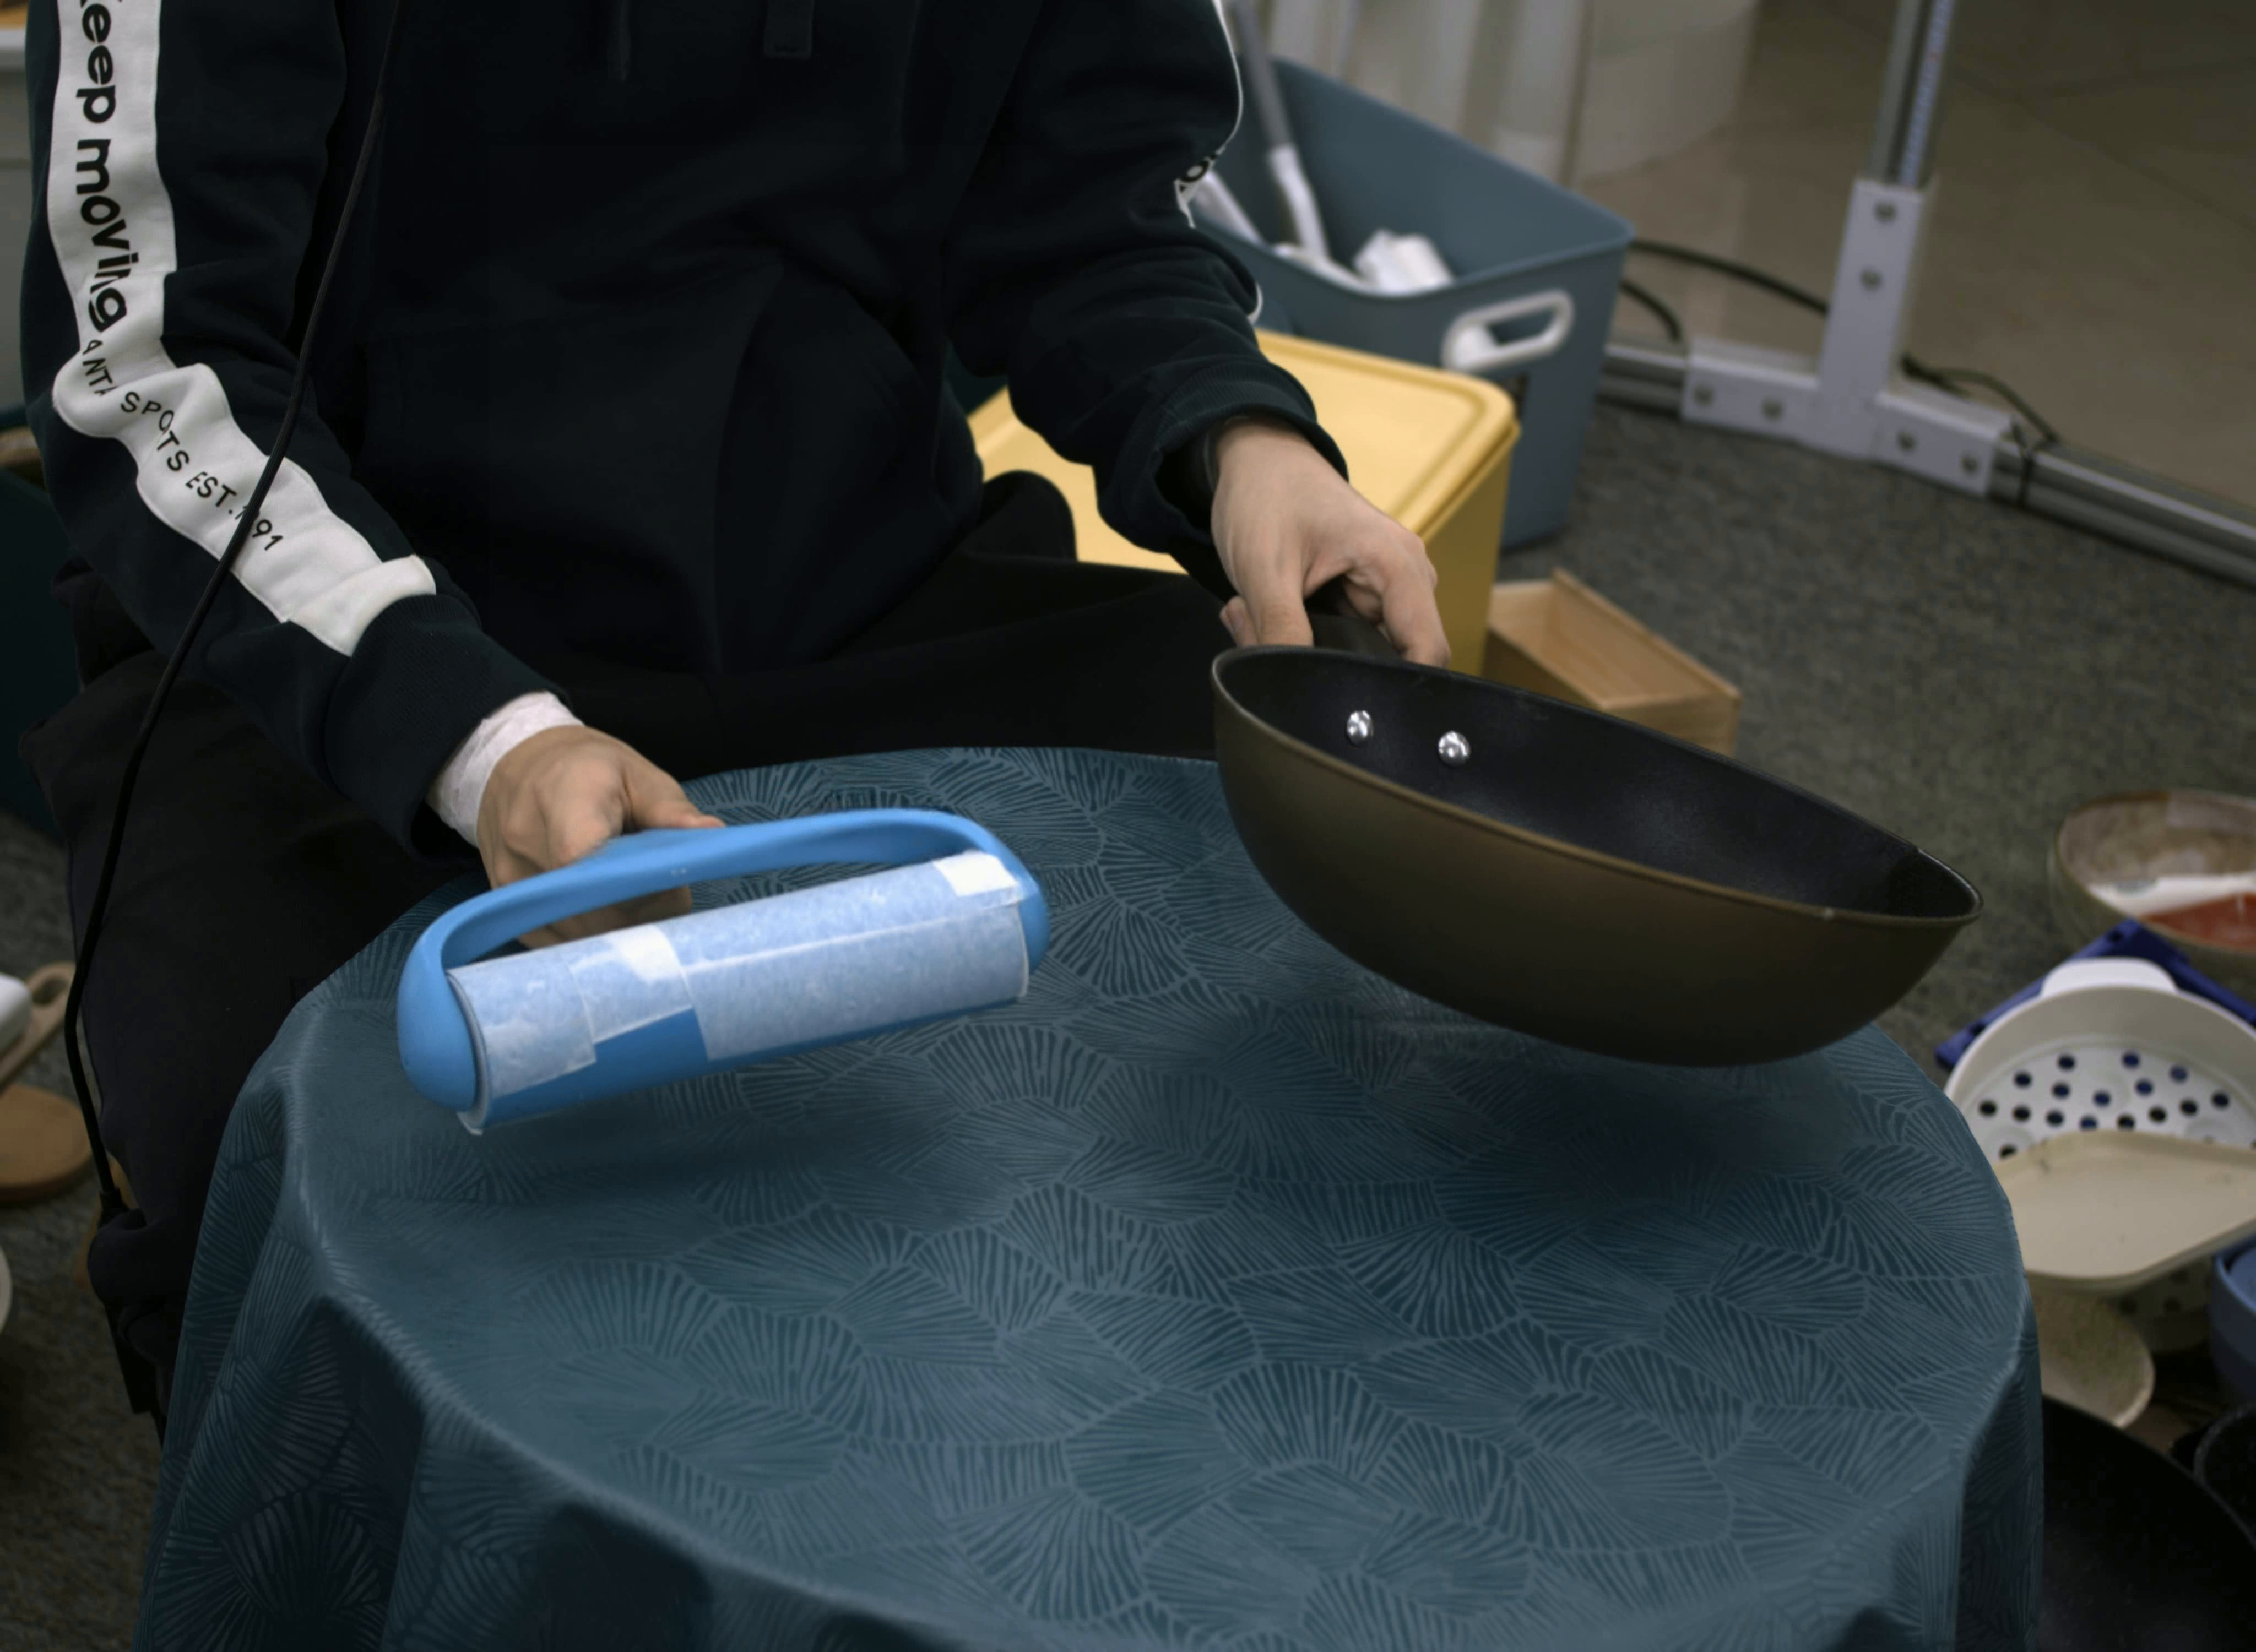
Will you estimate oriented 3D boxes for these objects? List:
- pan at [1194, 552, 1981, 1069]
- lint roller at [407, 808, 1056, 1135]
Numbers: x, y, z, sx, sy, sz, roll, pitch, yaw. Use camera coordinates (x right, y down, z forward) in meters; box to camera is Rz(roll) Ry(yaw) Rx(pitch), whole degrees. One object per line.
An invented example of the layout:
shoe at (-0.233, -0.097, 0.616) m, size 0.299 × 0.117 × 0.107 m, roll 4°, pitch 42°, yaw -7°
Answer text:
pan at (0.112, -0.008, 1.930) m, size 0.286 × 0.087 × 0.467 m, roll 12°, pitch 12°, yaw -28°
lint roller at (-0.158, 0.035, 1.812) m, size 0.228 × 0.068 × 0.182 m, roll -16°, pitch 25°, yaw -25°
